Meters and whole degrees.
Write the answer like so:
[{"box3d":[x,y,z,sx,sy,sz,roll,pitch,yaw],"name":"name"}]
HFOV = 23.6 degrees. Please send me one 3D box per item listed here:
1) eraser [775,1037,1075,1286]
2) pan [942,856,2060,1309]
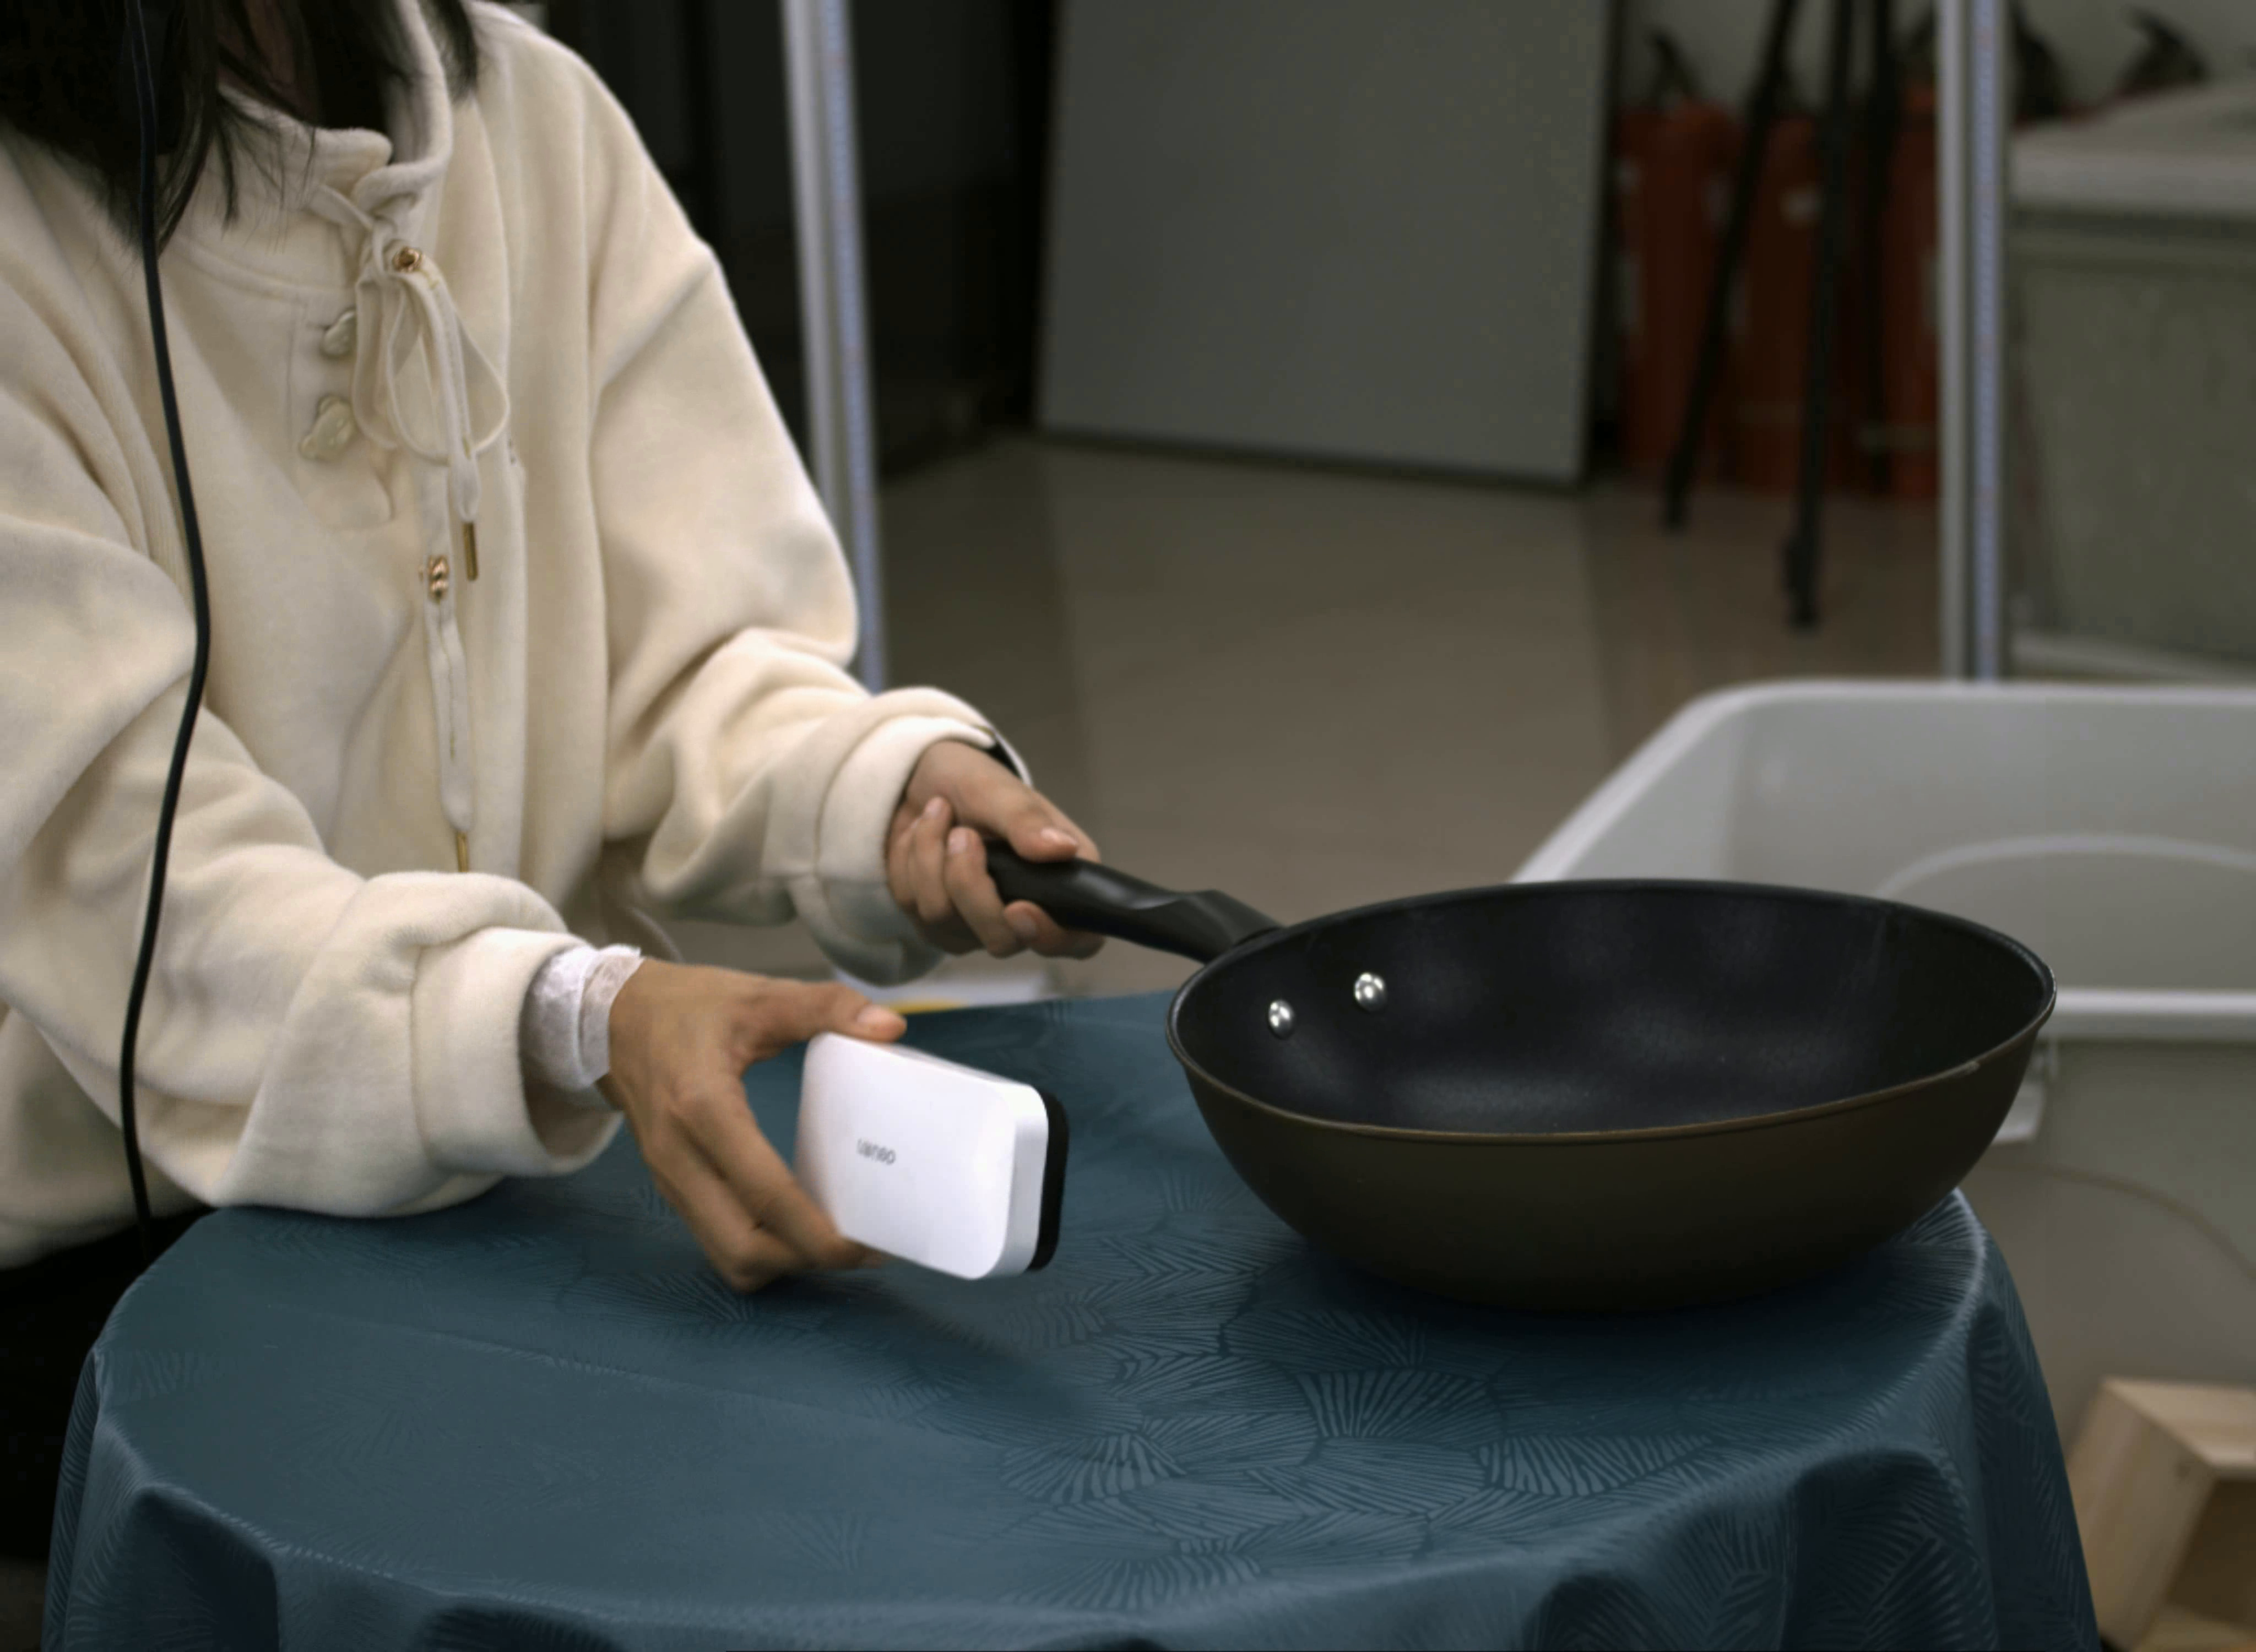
[{"box3d":[-0.065,0.101,1.649,0.034,0.064,0.132,10,0,-34],"name":"eraser"},{"box3d":[0.090,0.077,1.747,0.282,0.088,0.468,-15,16,-39],"name":"pan"}]
